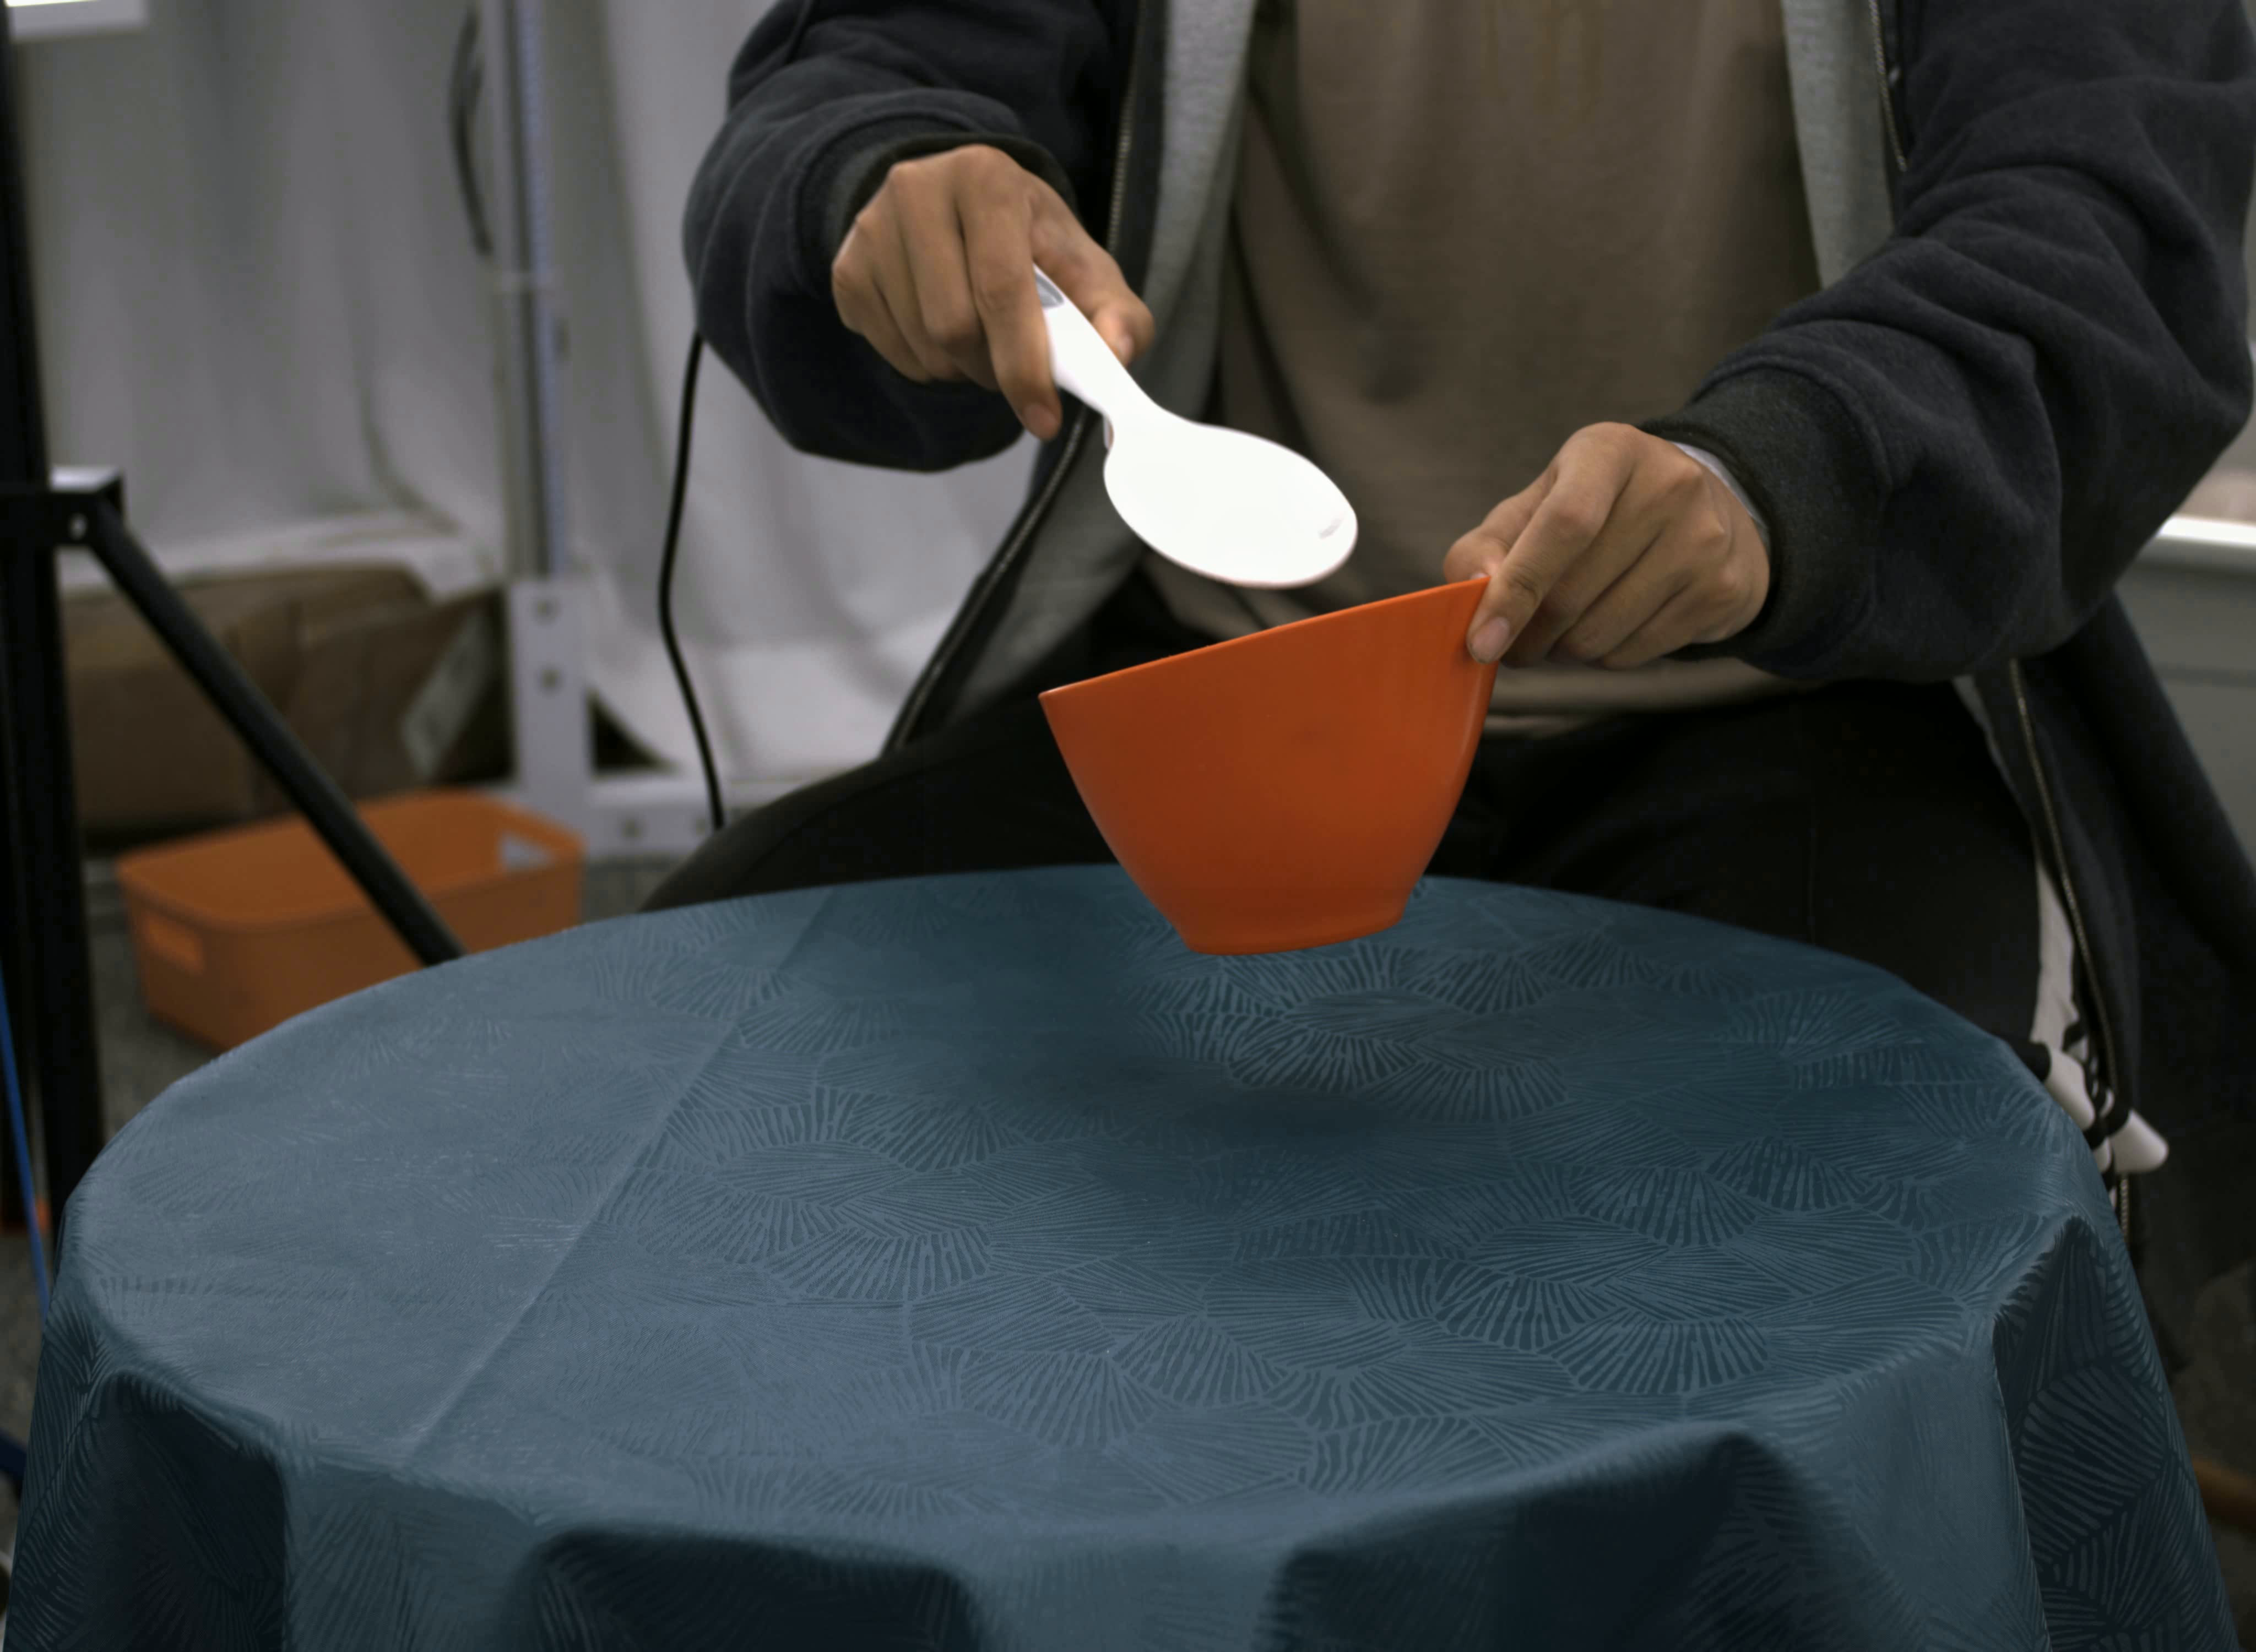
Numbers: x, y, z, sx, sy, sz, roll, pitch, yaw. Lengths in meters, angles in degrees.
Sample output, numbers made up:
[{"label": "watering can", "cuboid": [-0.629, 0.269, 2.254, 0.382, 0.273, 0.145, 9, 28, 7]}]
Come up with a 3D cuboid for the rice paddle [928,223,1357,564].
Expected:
[{"label": "rice paddle", "cuboid": [0.001, -0.132, 1.657, 0.067, 0.029, 0.210, -19, 38, -24]}]

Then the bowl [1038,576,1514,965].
[{"label": "bowl", "cuboid": [0.050, -0.015, 1.599, 0.147, 0.105, 0.148, -9, 7, 0]}]
